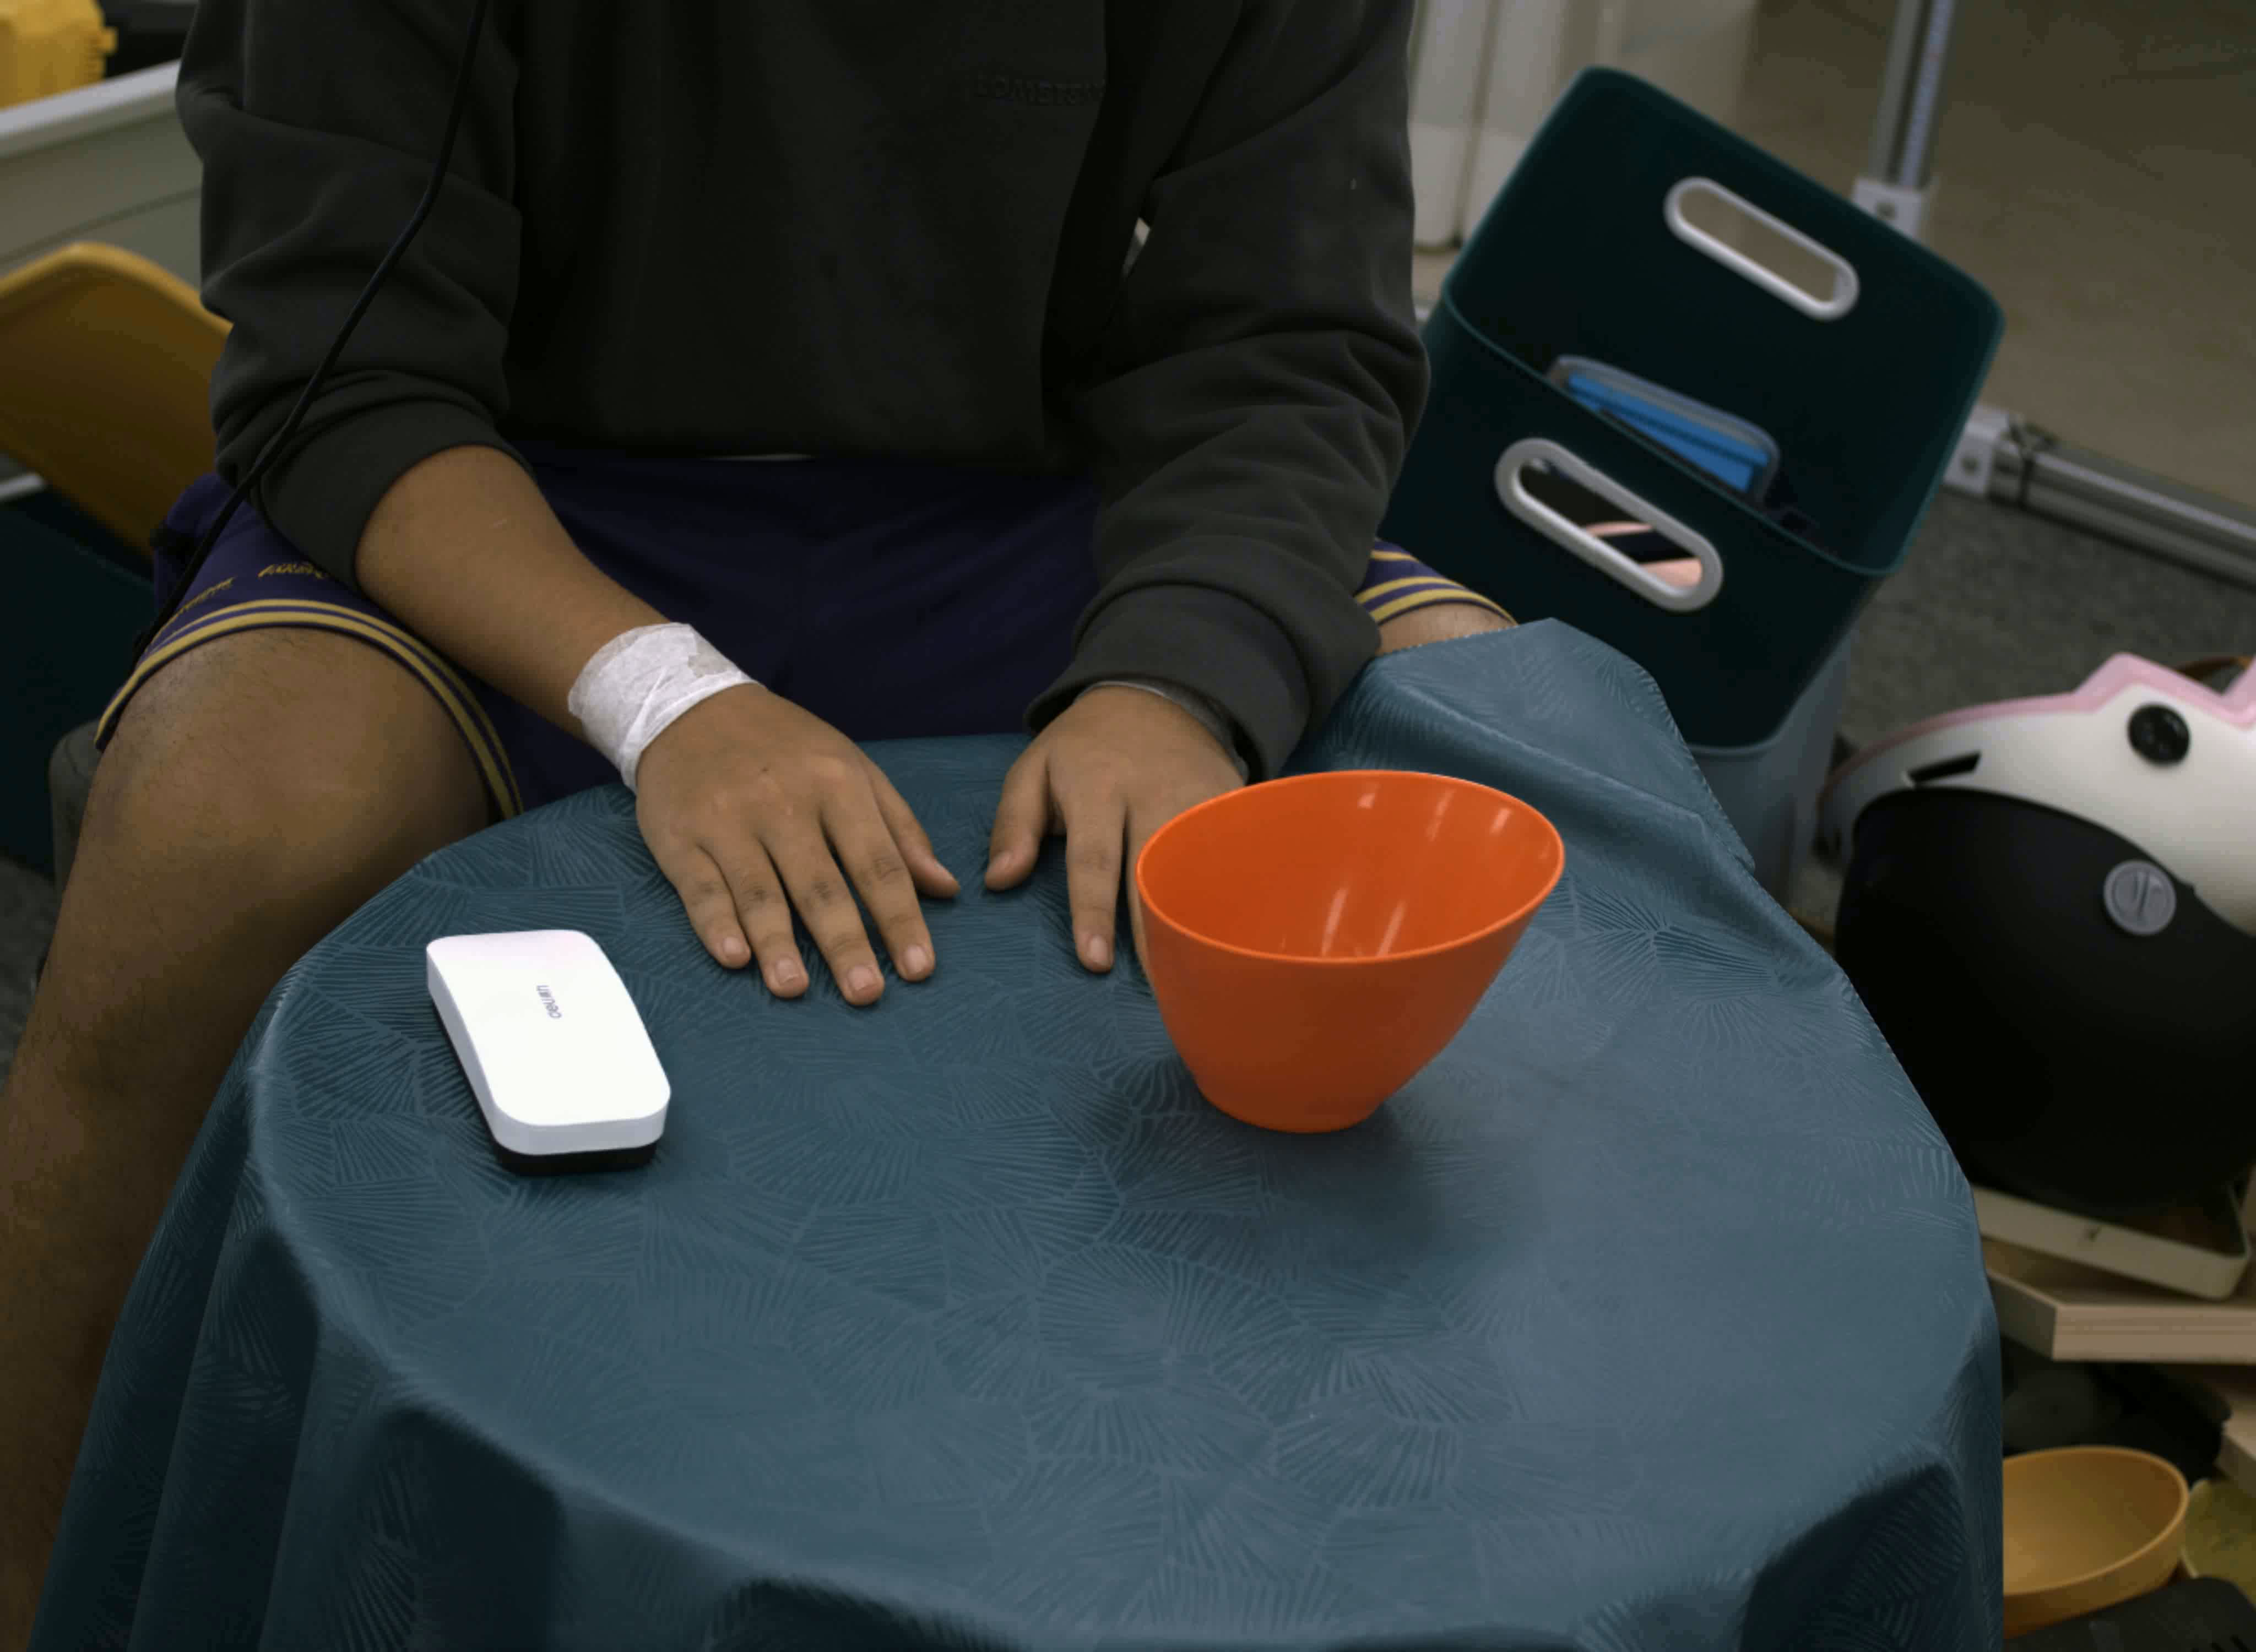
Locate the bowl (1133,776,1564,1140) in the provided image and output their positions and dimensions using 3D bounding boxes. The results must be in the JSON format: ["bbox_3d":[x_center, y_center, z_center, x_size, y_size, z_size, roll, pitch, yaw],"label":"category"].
[{"bbox_3d":[0.072,0.050,1.852,0.147,0.104,0.149,4,27,-3],"label":"bowl"}]

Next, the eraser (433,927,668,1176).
[{"bbox_3d":[-0.198,0.073,1.820,0.063,0.034,0.132,-2,29,-18],"label":"eraser"}]
